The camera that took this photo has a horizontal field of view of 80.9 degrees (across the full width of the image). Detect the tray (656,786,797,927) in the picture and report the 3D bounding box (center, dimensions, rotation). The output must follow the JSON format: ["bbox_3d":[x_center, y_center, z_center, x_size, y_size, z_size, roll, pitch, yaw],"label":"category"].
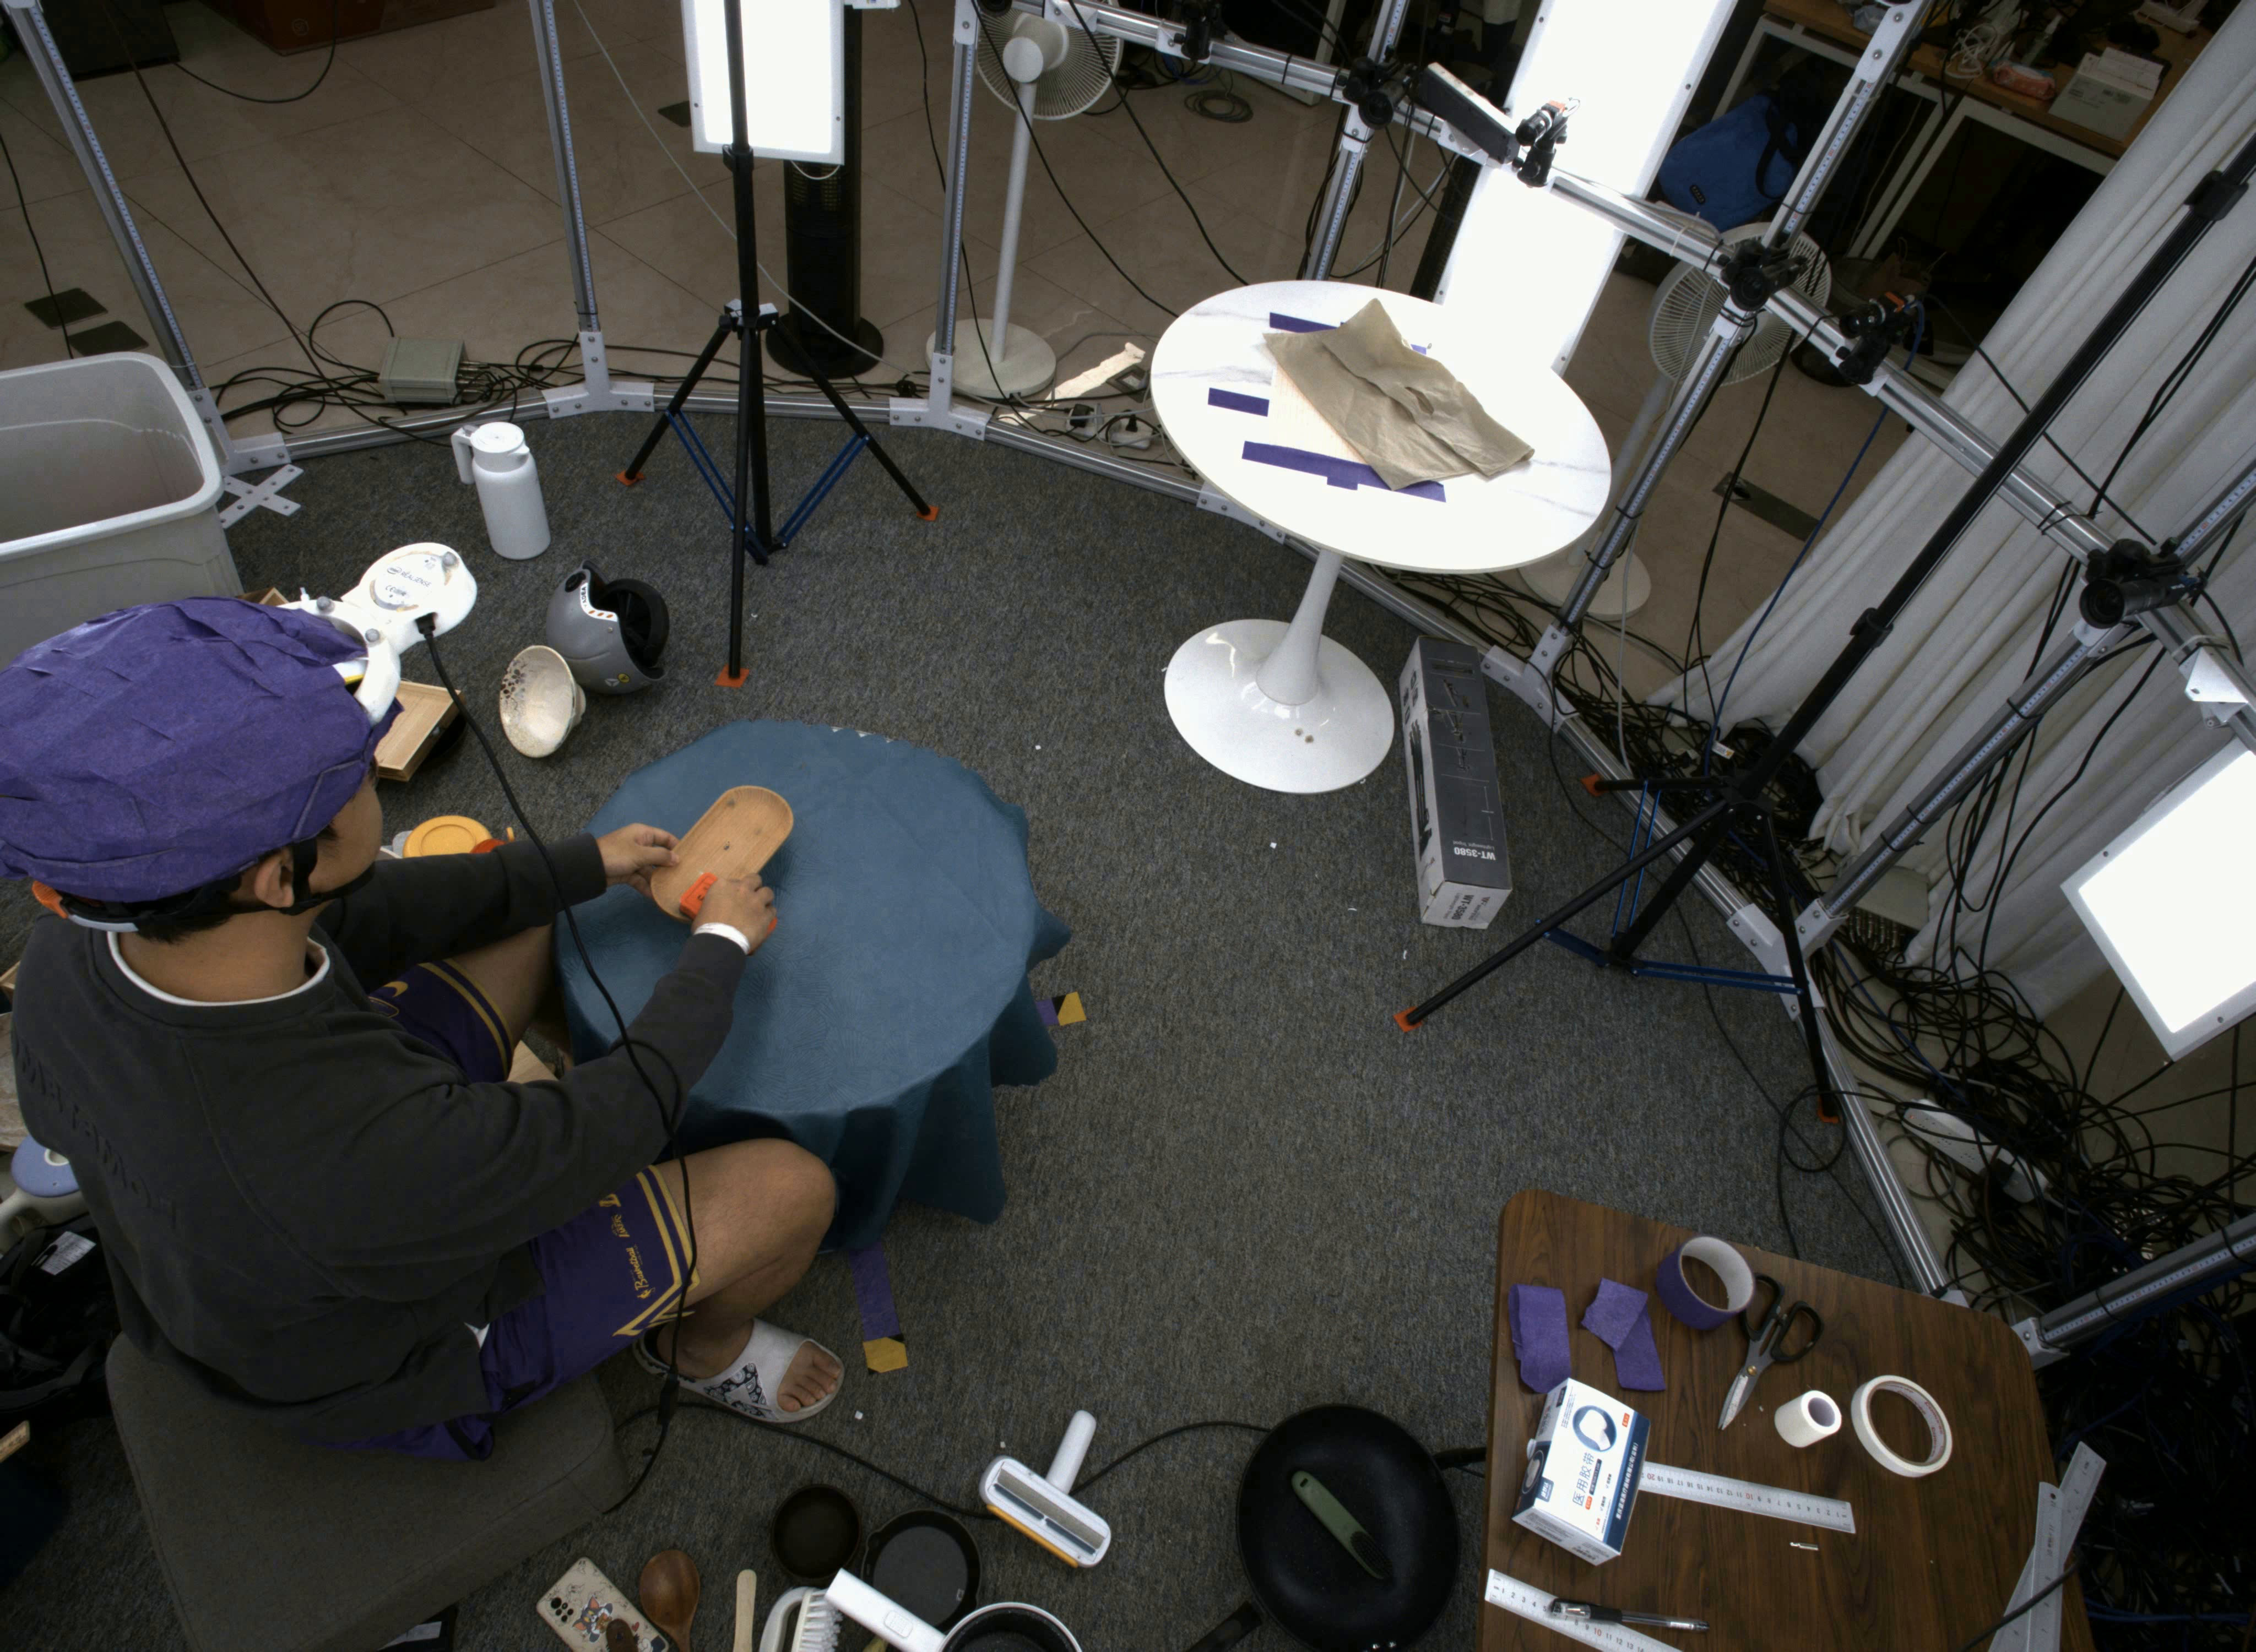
[{"bbox_3d":[-0.497,0.034,1.605,0.101,0.020,0.229,30,49,-2],"label":"tray"}]

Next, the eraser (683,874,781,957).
[{"bbox_3d":[-0.472,0.104,1.539,0.108,0.023,0.058,34,38,-2],"label":"eraser"}]
